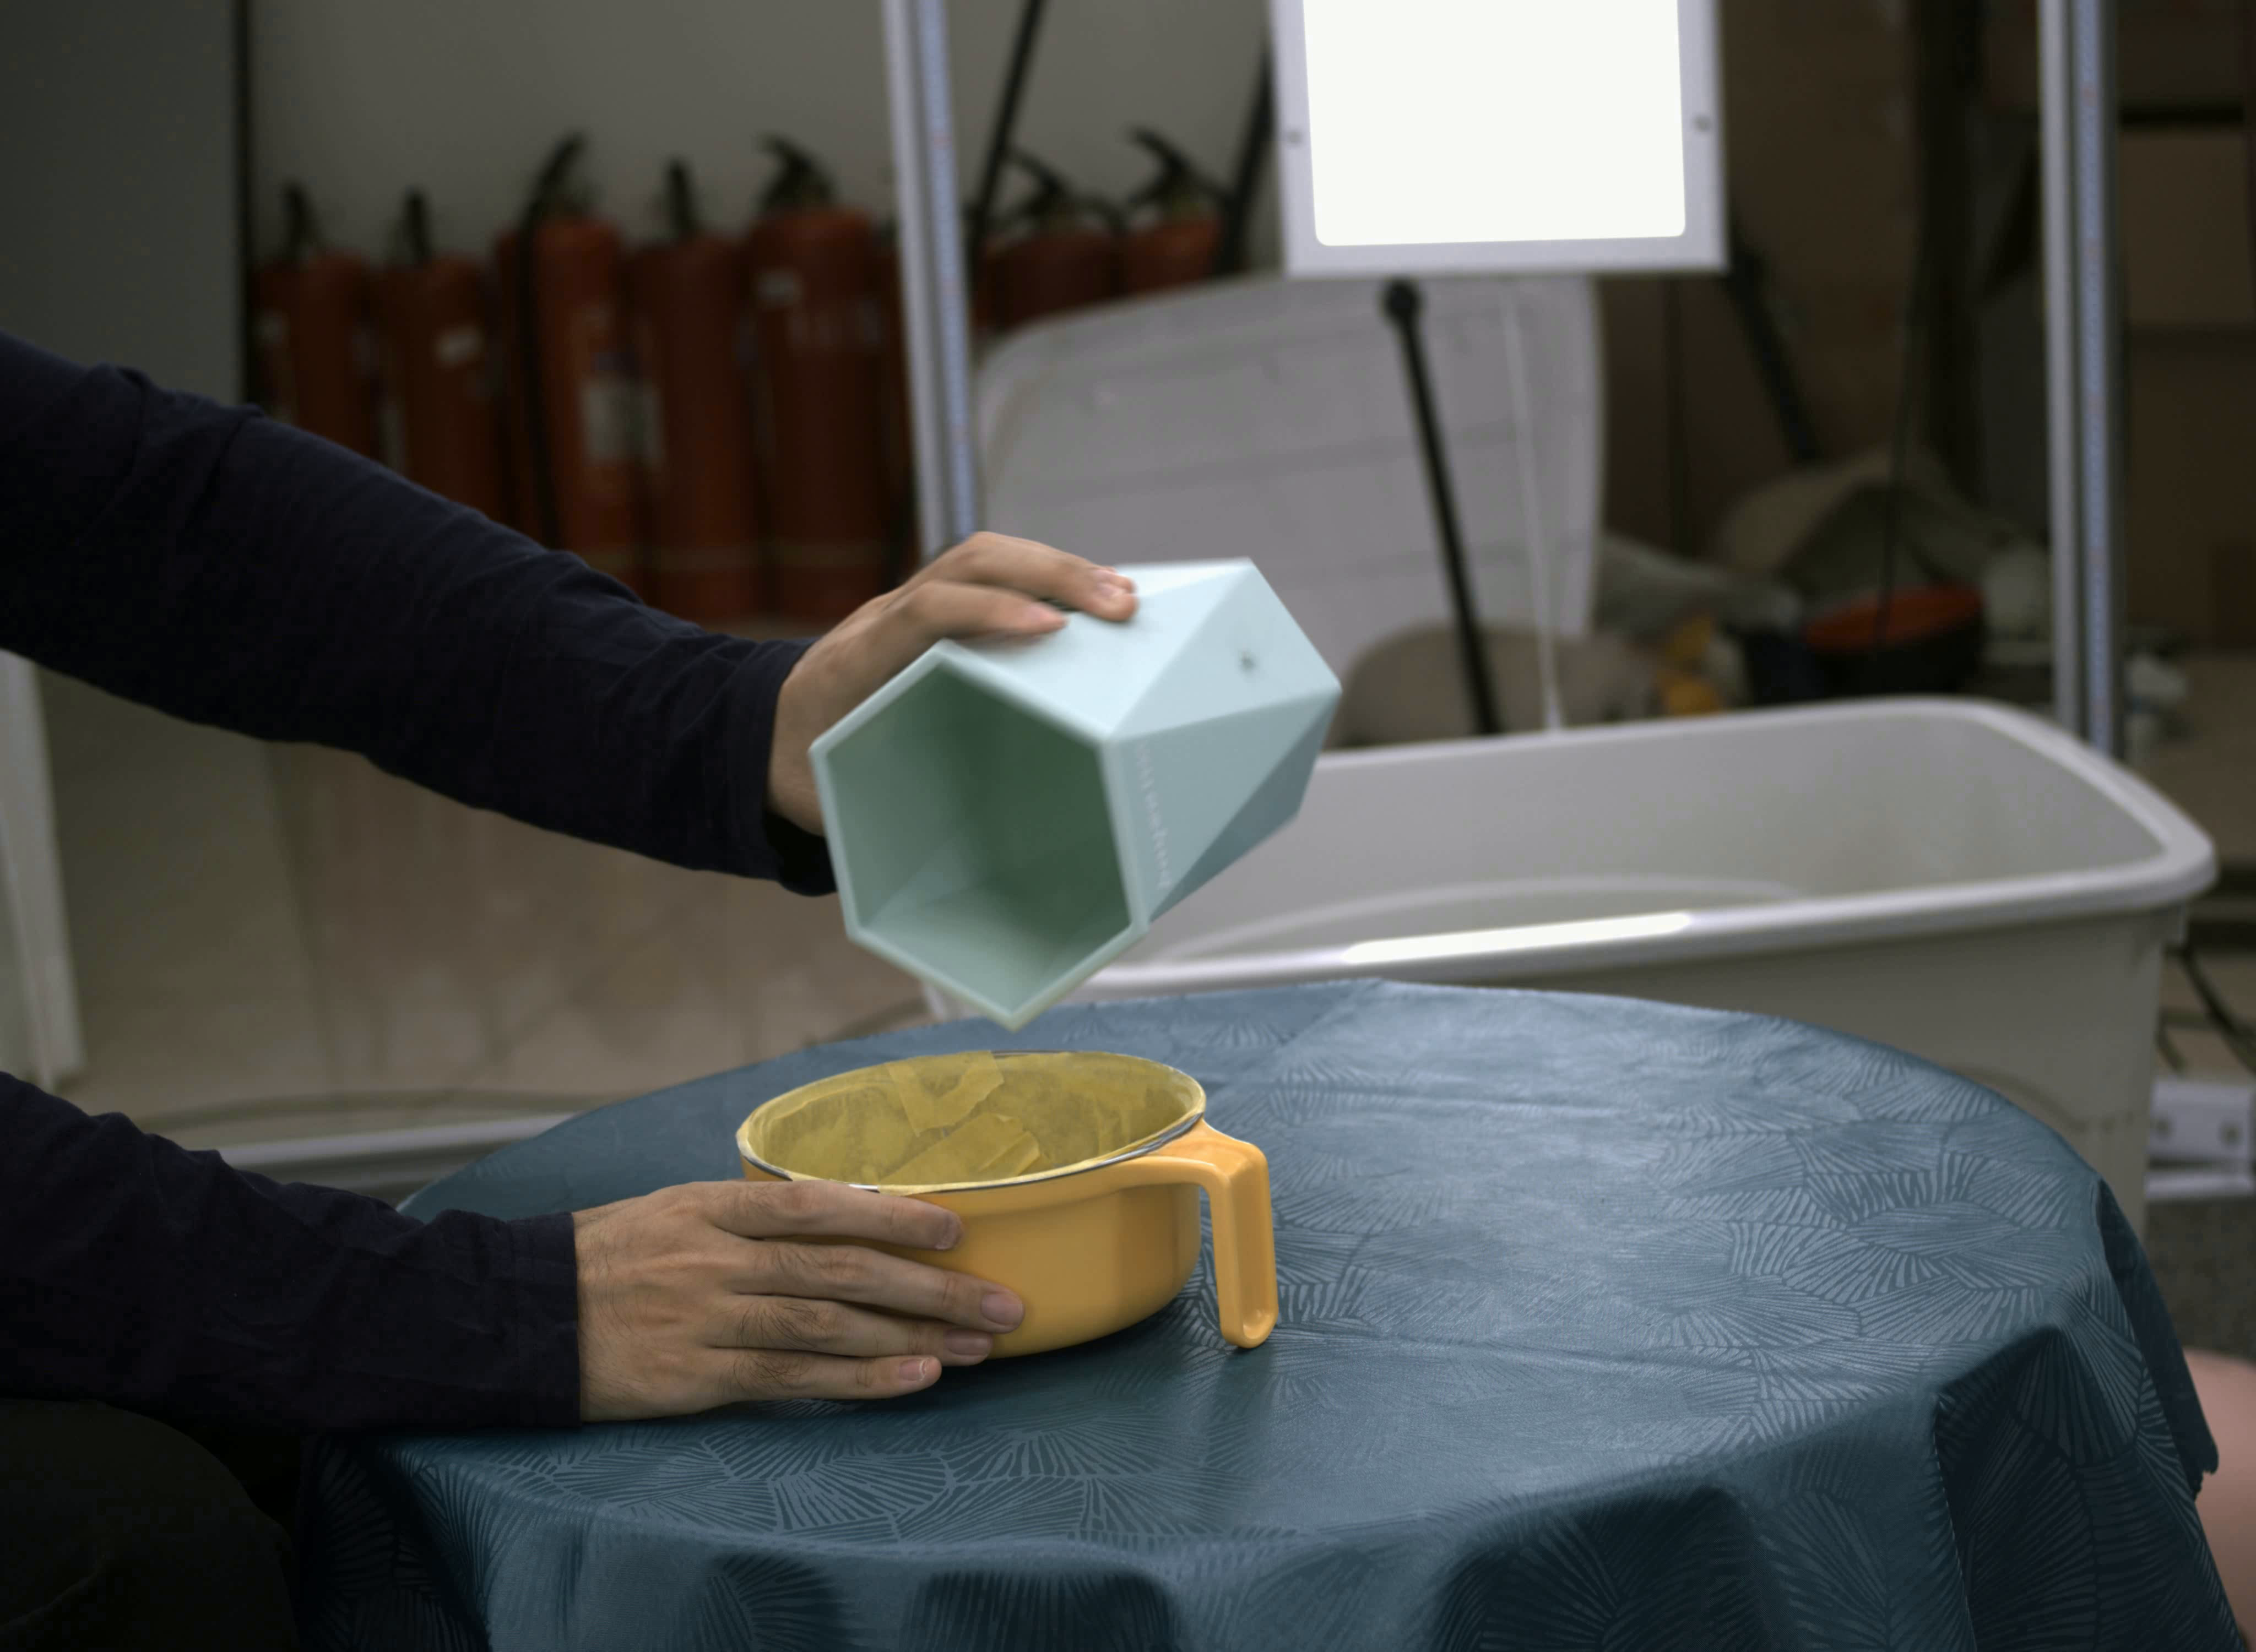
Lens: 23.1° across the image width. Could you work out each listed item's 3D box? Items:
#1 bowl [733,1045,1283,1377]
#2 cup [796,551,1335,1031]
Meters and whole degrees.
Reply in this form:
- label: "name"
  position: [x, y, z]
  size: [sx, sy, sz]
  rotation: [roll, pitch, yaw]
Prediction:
- label: "bowl"
  position: [-0.036, 0.127, 1.773]
  size: [0.182, 0.074, 0.149]
  rotation: [0, 14, 30]
- label: "cup"
  position: [-0.013, -0.022, 1.816]
  size: [0.117, 0.131, 0.159]
  rotation: [-4, 18, 35]
